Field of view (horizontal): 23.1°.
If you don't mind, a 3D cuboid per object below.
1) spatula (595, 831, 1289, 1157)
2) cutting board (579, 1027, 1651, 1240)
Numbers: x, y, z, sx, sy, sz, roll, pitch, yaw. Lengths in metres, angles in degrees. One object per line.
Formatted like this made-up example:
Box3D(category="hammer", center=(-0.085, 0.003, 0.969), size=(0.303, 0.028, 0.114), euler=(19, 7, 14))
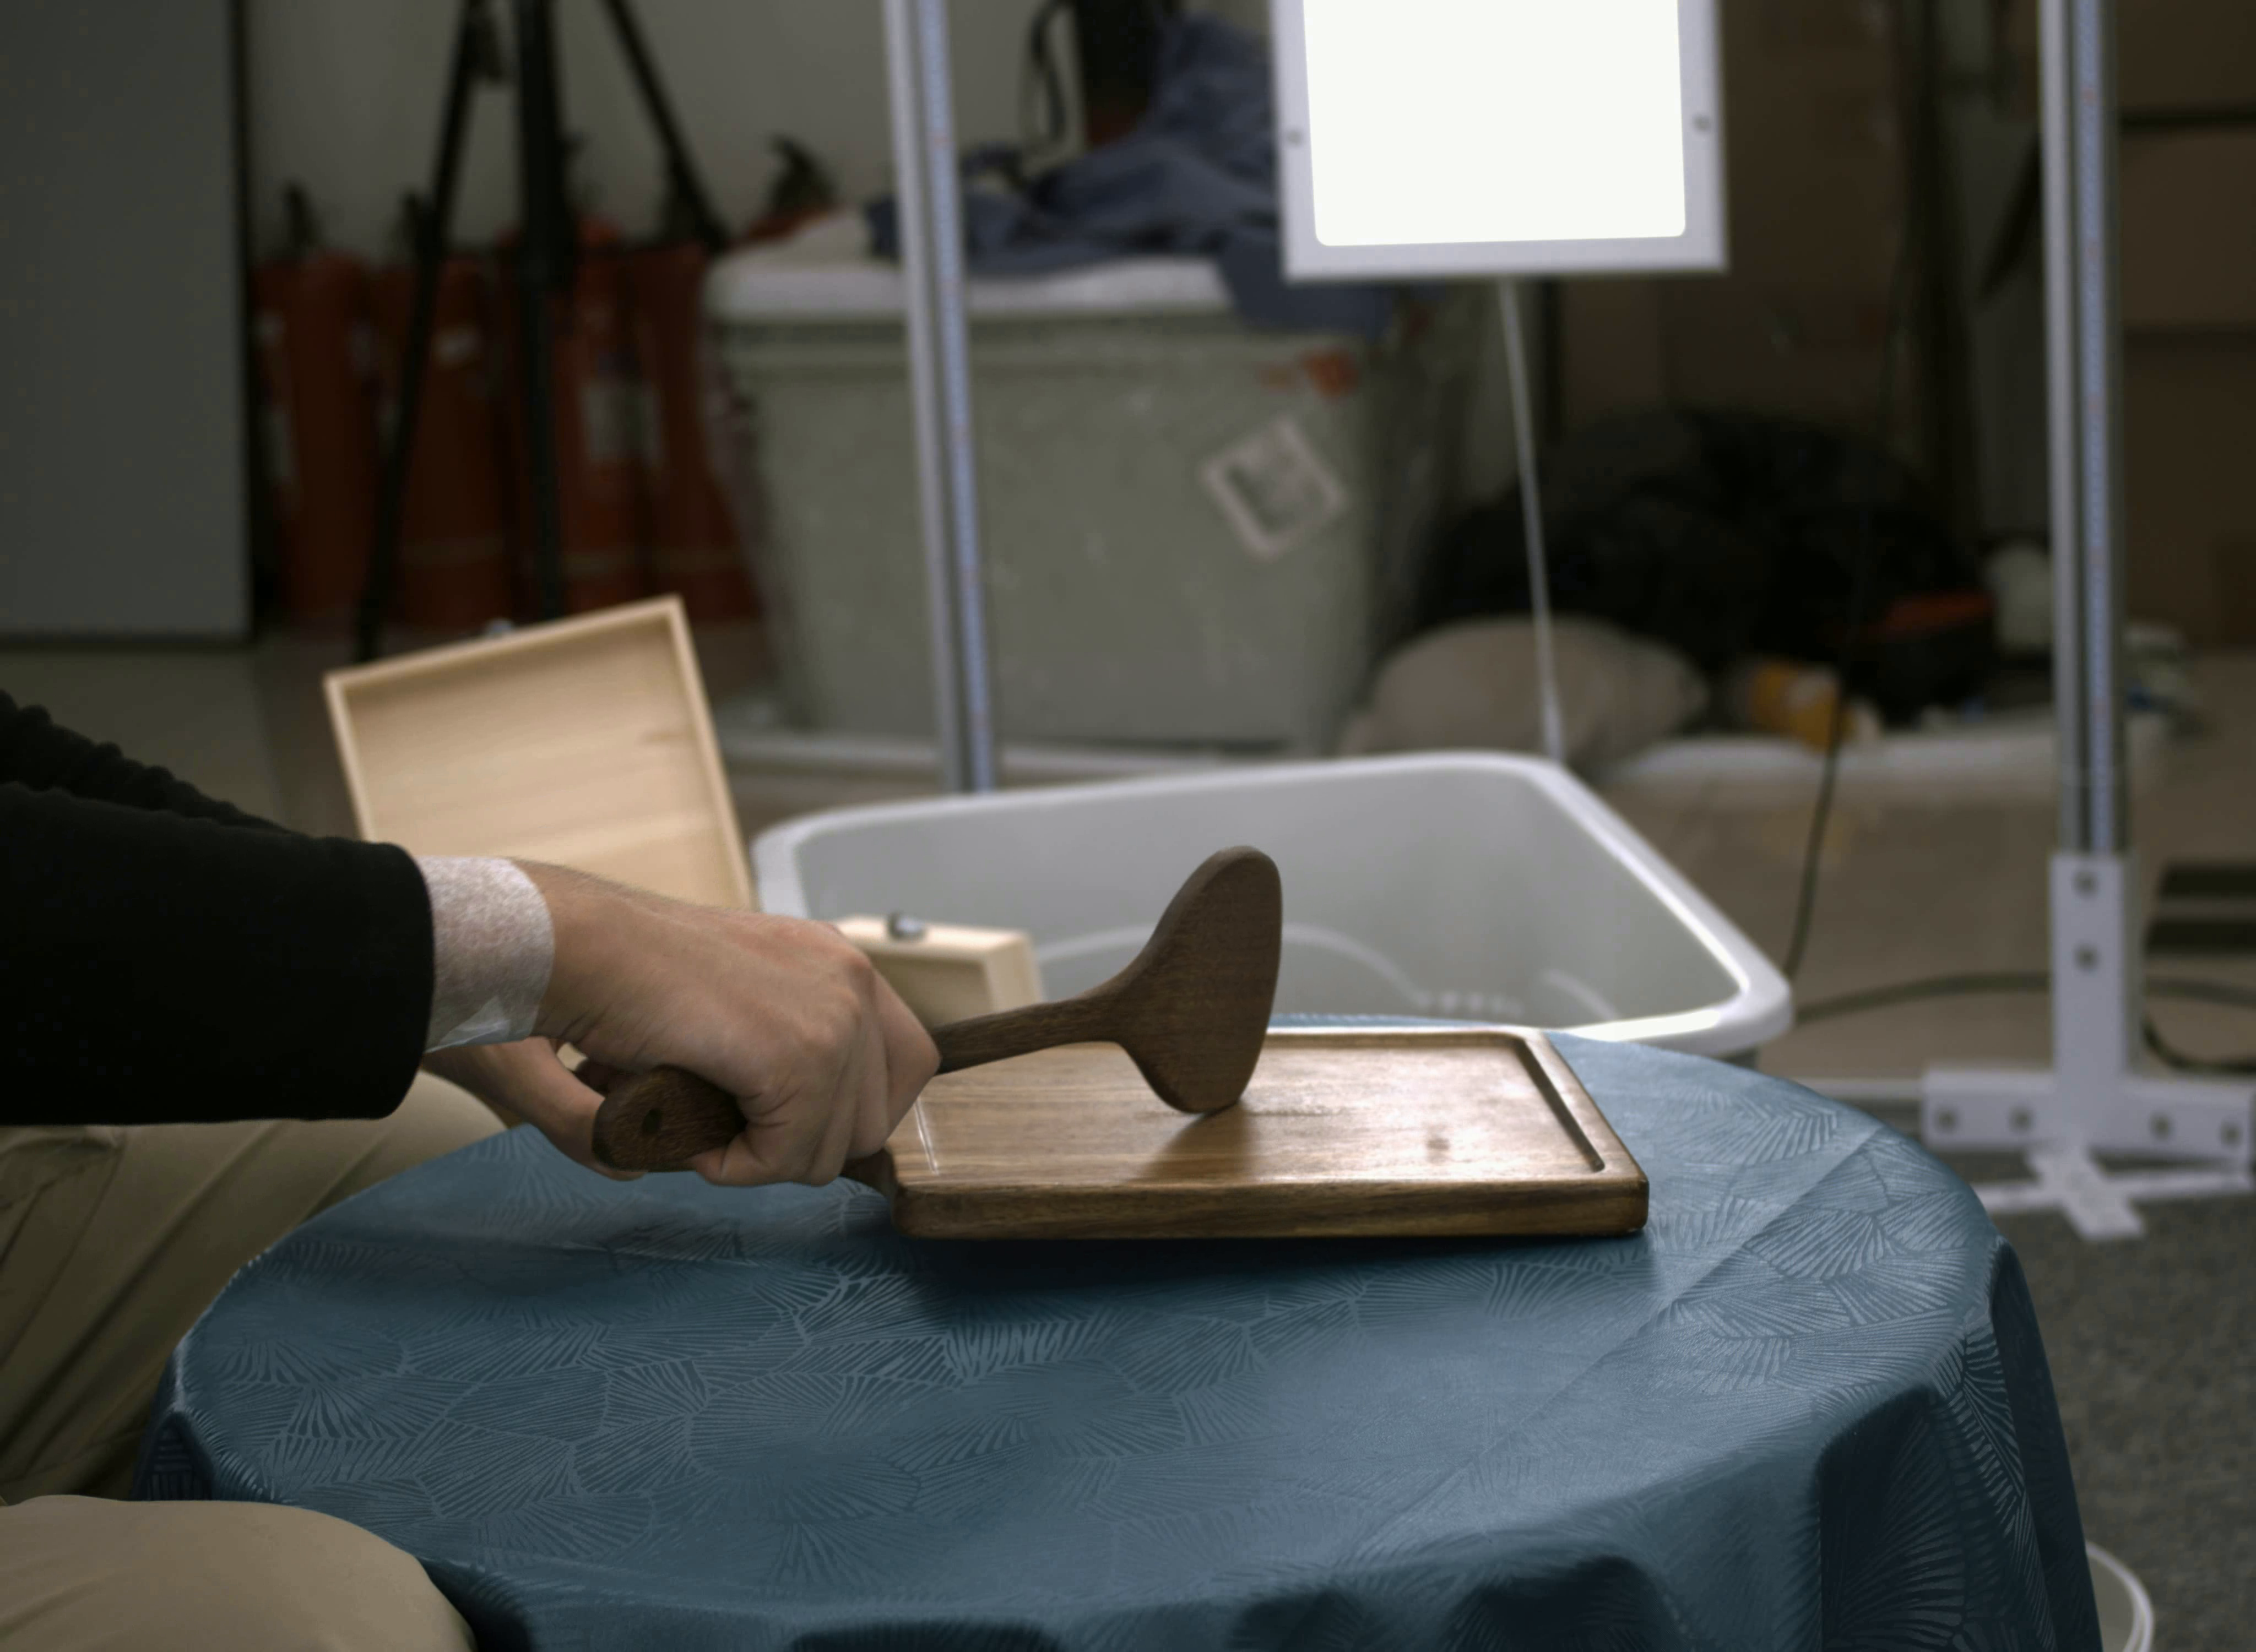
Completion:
Box3D(category="spatula", center=(-0.050, 0.065, 1.754), size=(0.016, 0.096, 0.376), euler=(14, 13, 33))
Box3D(category="cutting board", center=(-0.012, 0.103, 1.882), size=(0.350, 0.023, 0.201), euler=(0, 13, -5))
